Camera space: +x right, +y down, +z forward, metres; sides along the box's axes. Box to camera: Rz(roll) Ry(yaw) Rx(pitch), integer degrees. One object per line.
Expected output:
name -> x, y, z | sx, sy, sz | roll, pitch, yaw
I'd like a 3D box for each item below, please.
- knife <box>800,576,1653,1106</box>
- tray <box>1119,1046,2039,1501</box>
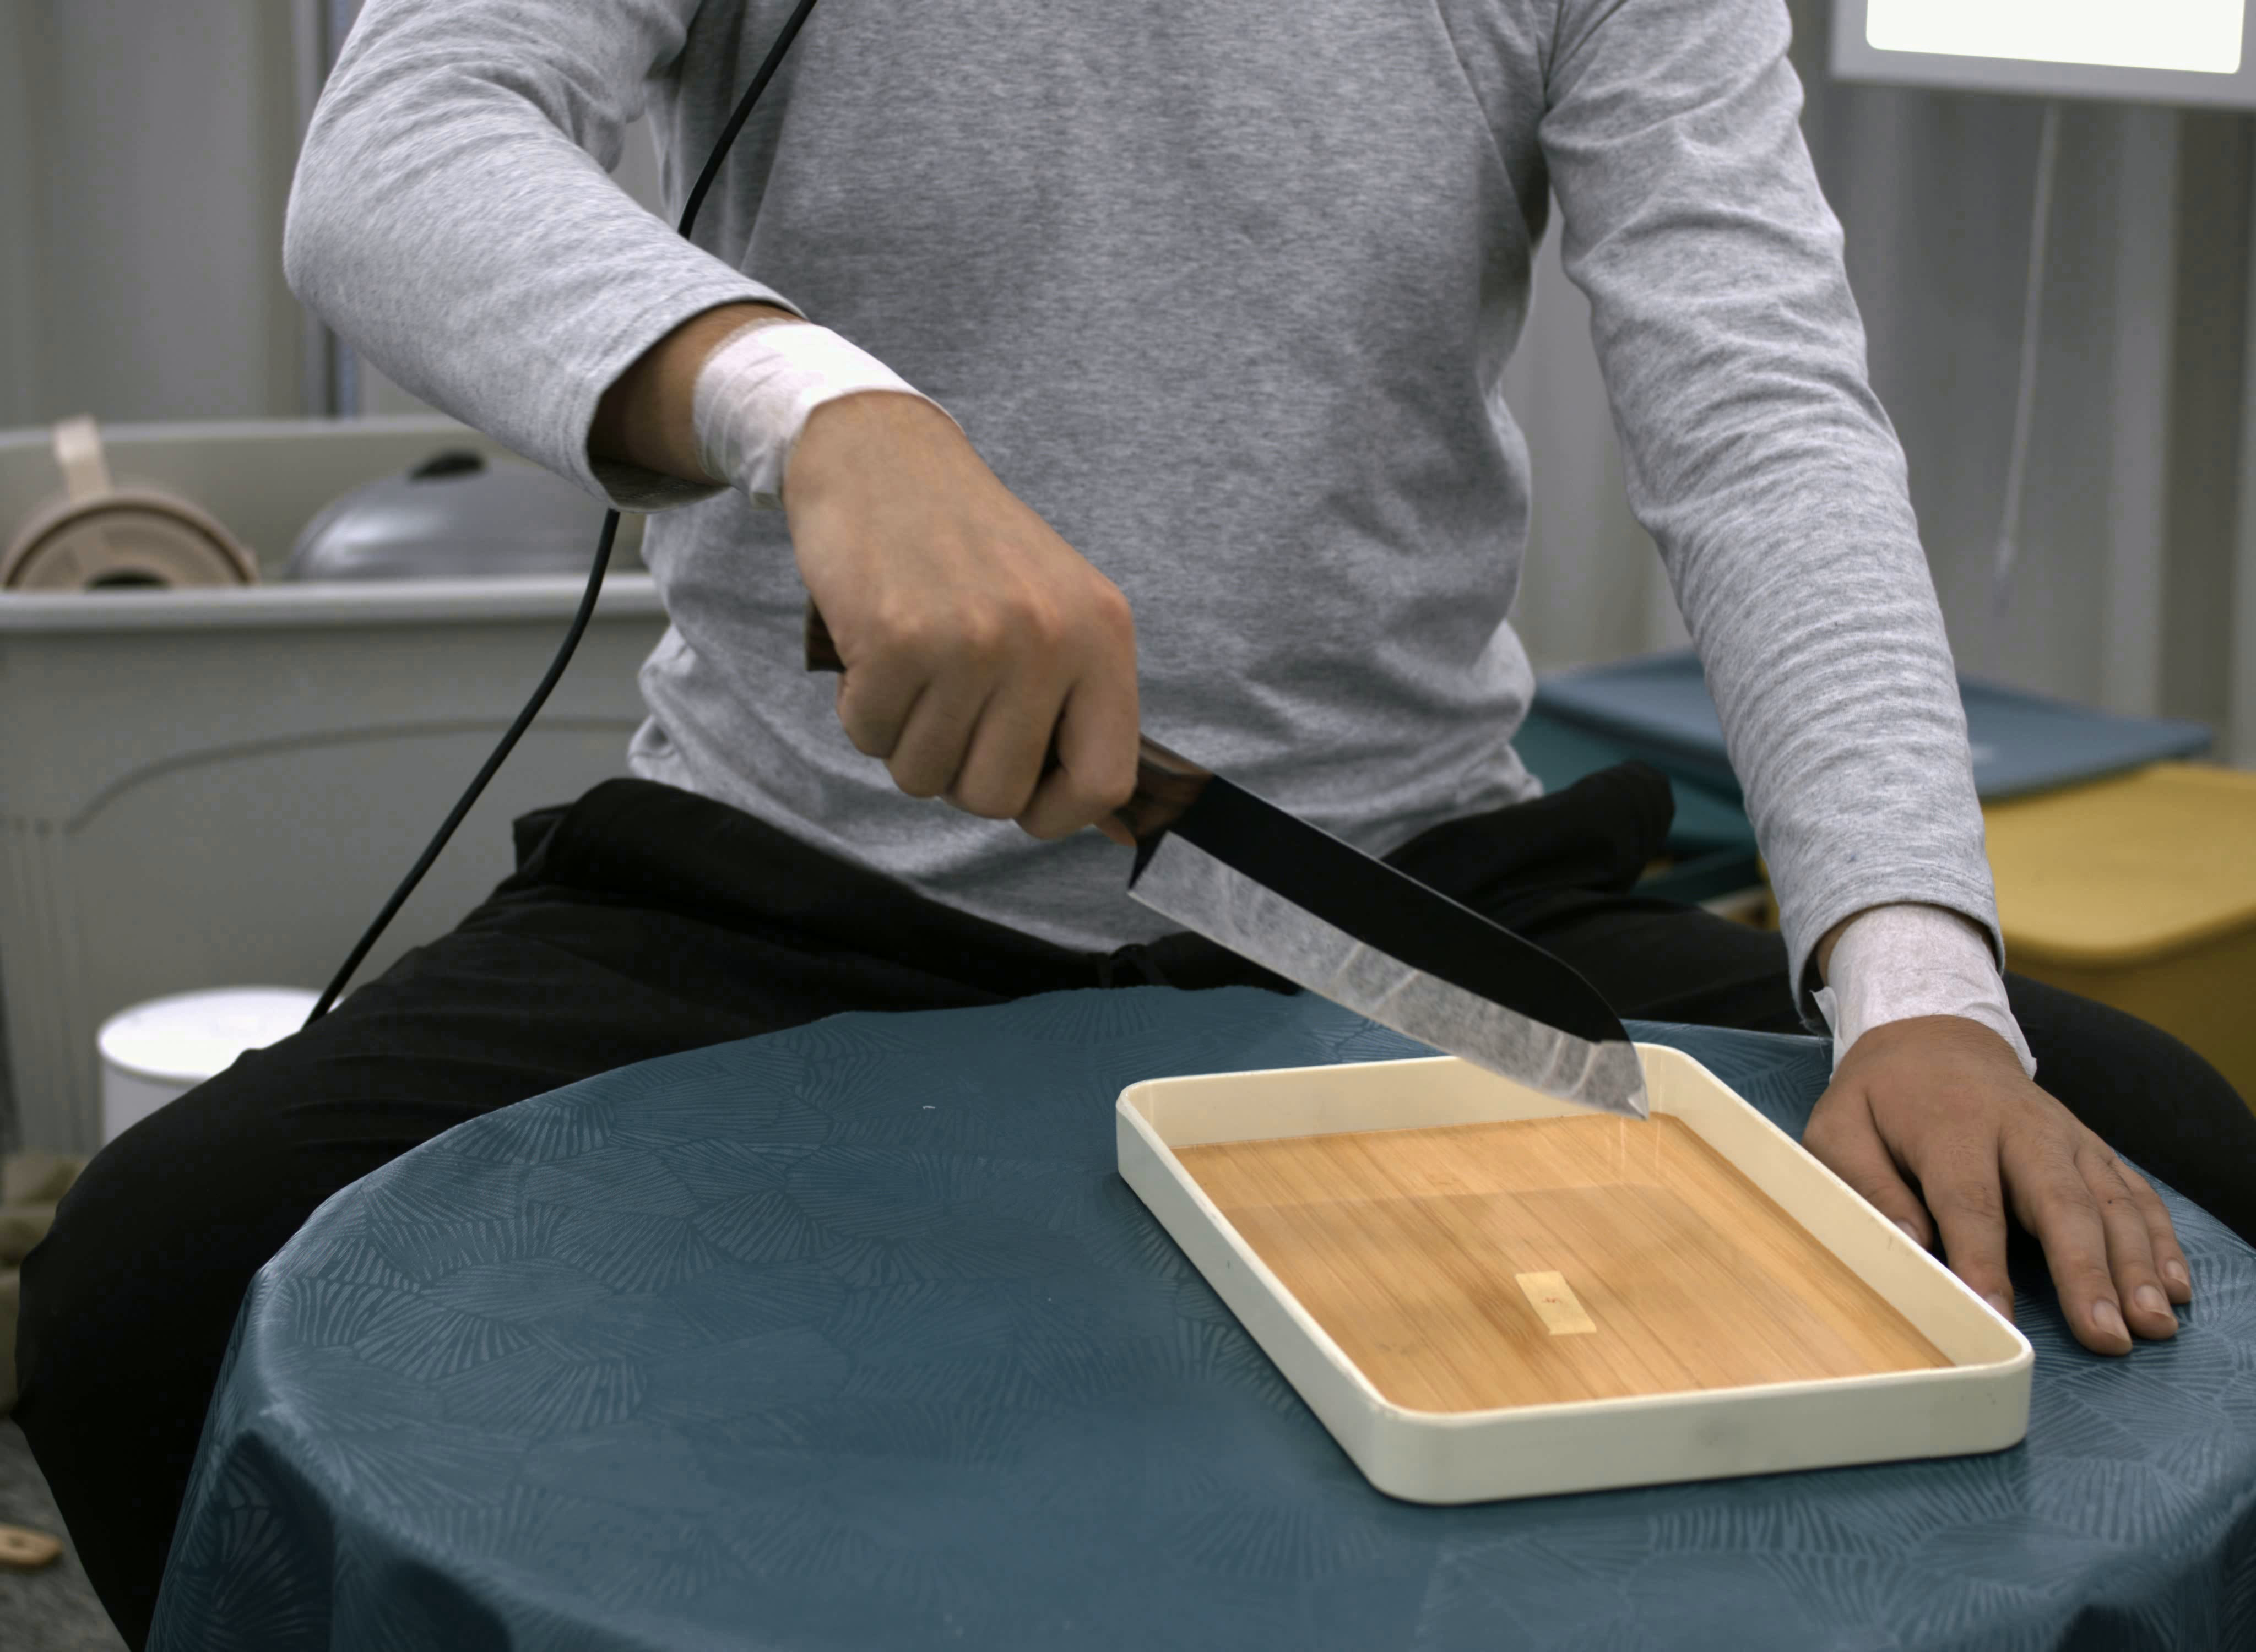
knife -> 0.030, 0.007, 1.516 | 0.290, 0.050, 0.020 | 30, 15, -8
tray -> 0.122, 0.125, 1.536 | 0.192, 0.027, 0.297 | -3, 16, -15
